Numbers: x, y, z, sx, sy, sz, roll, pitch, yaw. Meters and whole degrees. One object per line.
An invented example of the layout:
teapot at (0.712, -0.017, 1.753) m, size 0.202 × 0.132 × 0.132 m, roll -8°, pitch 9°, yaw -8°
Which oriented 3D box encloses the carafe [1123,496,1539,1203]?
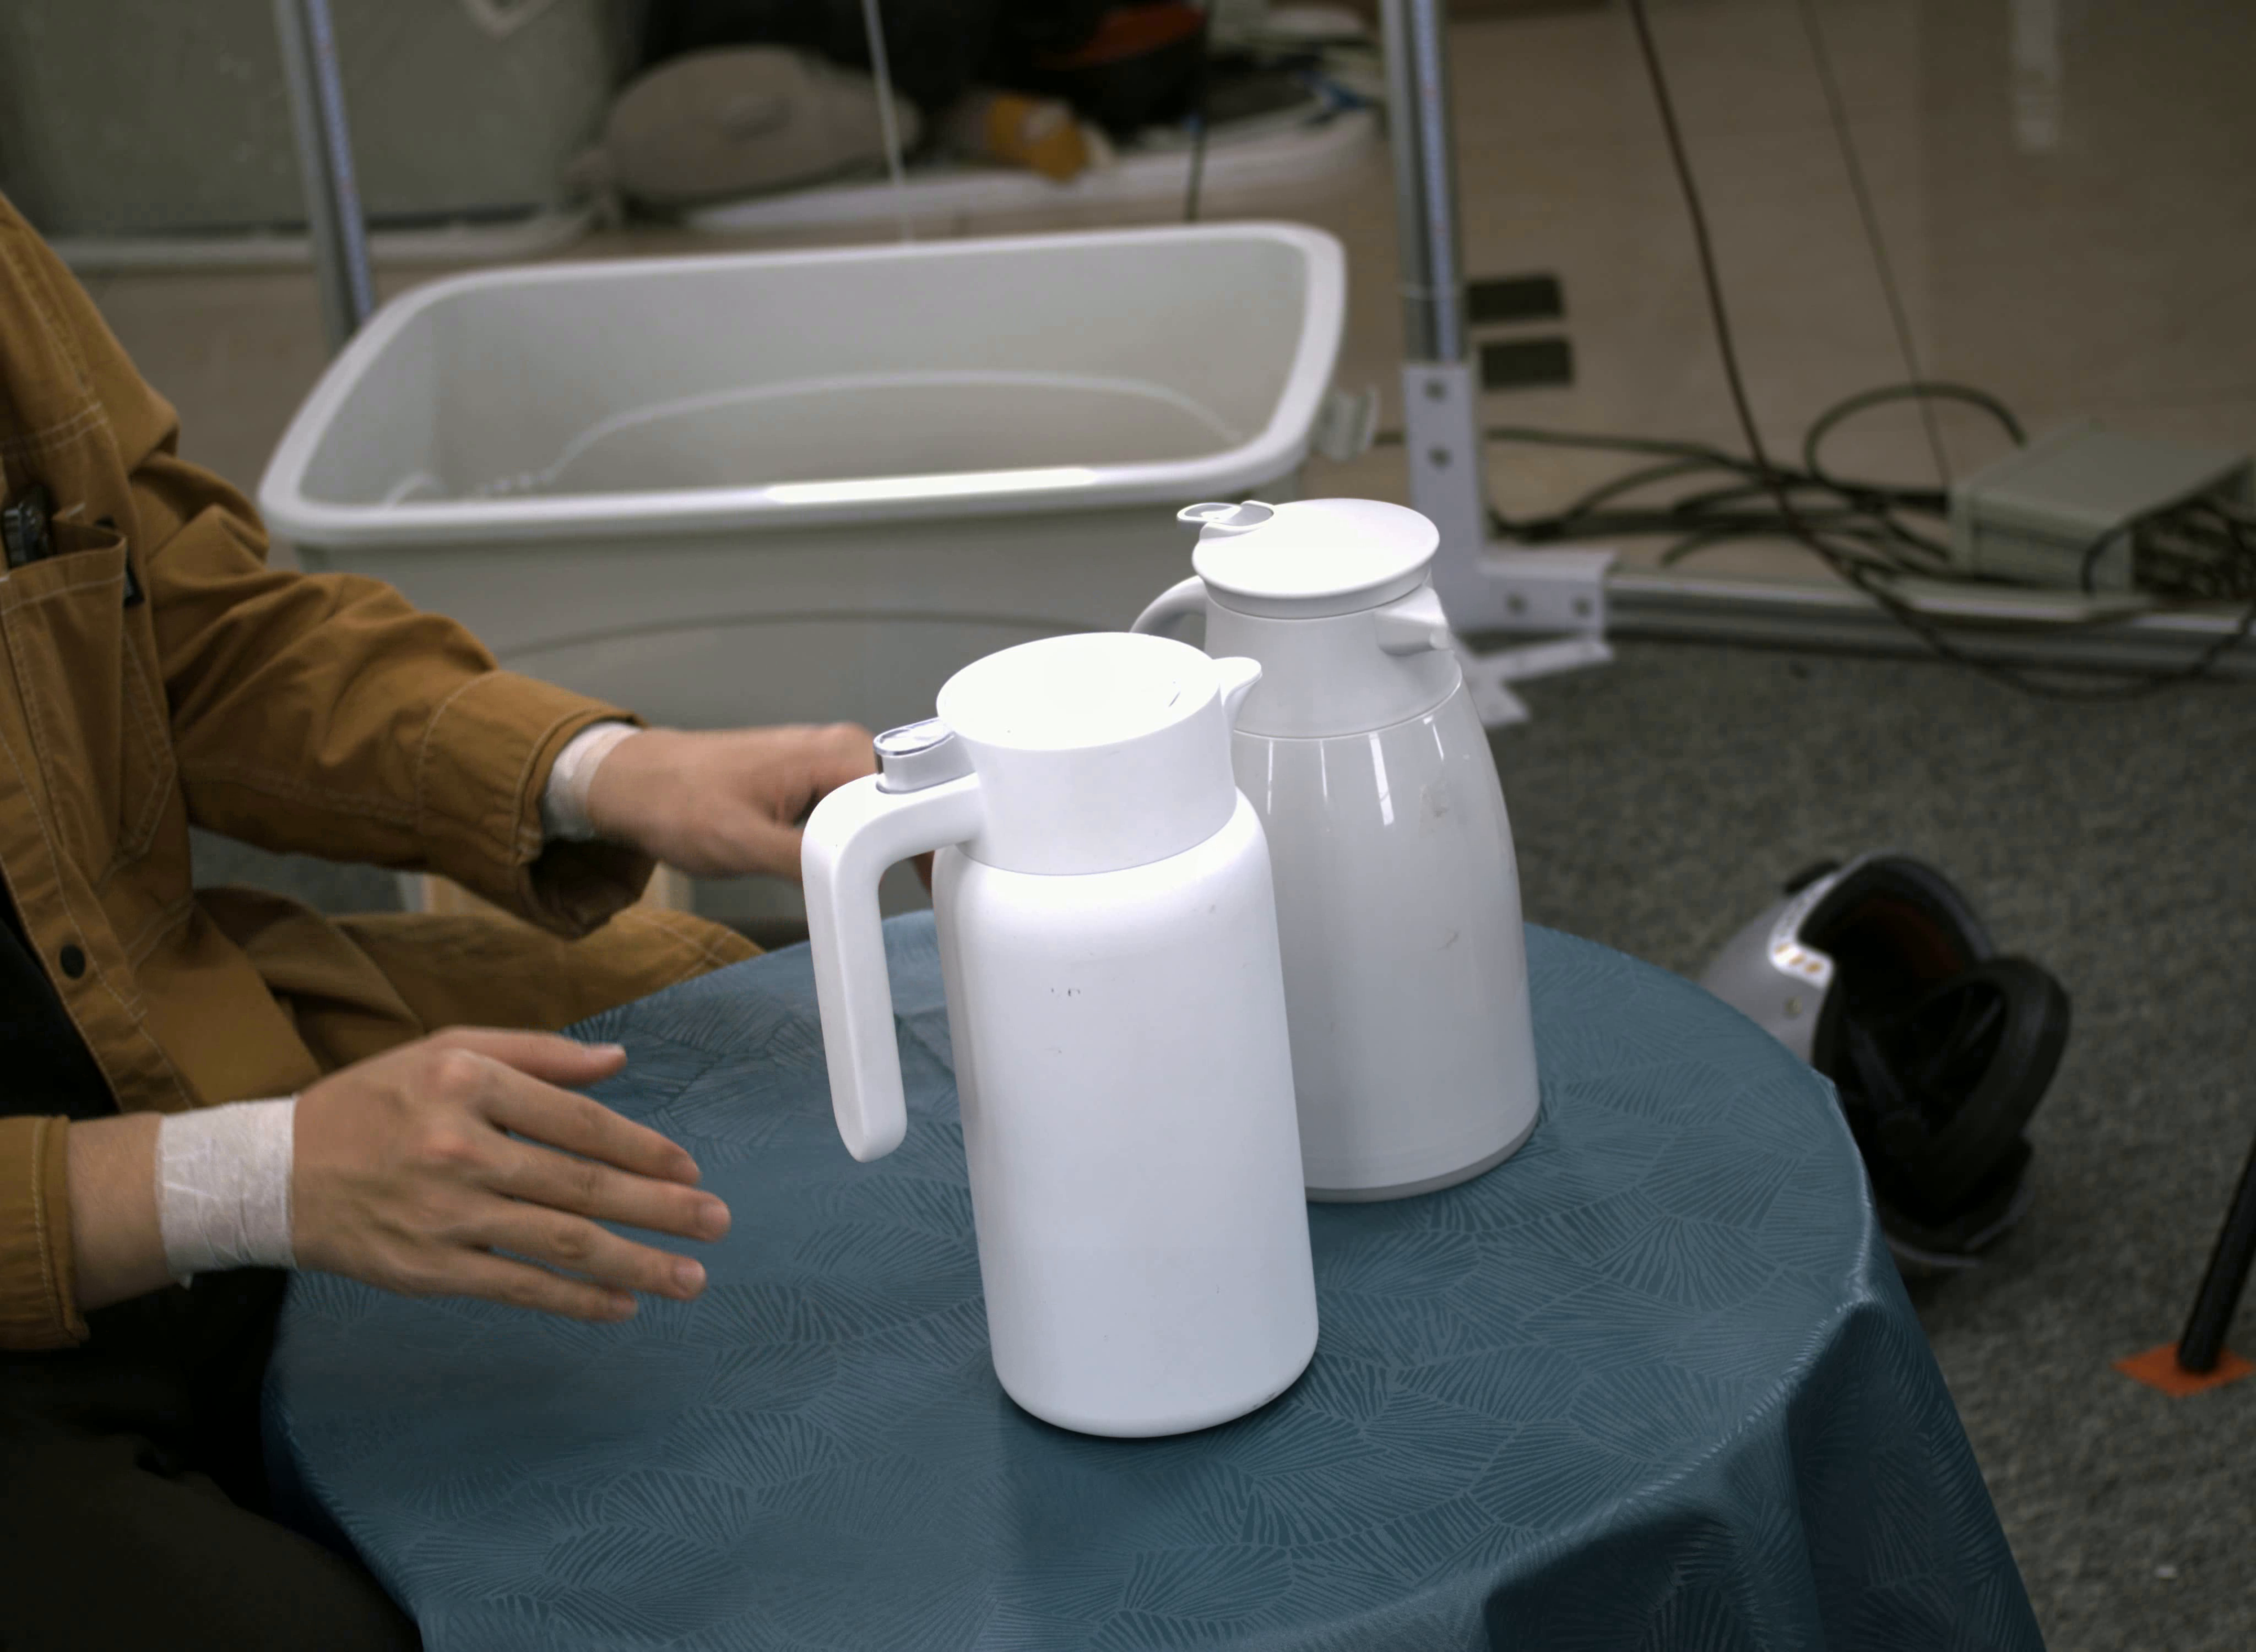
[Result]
carafe at (0.065, -0.002, 2.137) m, size 0.166 × 0.252 × 0.131 m, roll 16°, pitch 33°, yaw 40°

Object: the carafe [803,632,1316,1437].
carafe at (-0.018, 0.078, 1.965) m, size 0.172 × 0.273 × 0.122 m, roll -18°, pitch 30°, yaw -21°
